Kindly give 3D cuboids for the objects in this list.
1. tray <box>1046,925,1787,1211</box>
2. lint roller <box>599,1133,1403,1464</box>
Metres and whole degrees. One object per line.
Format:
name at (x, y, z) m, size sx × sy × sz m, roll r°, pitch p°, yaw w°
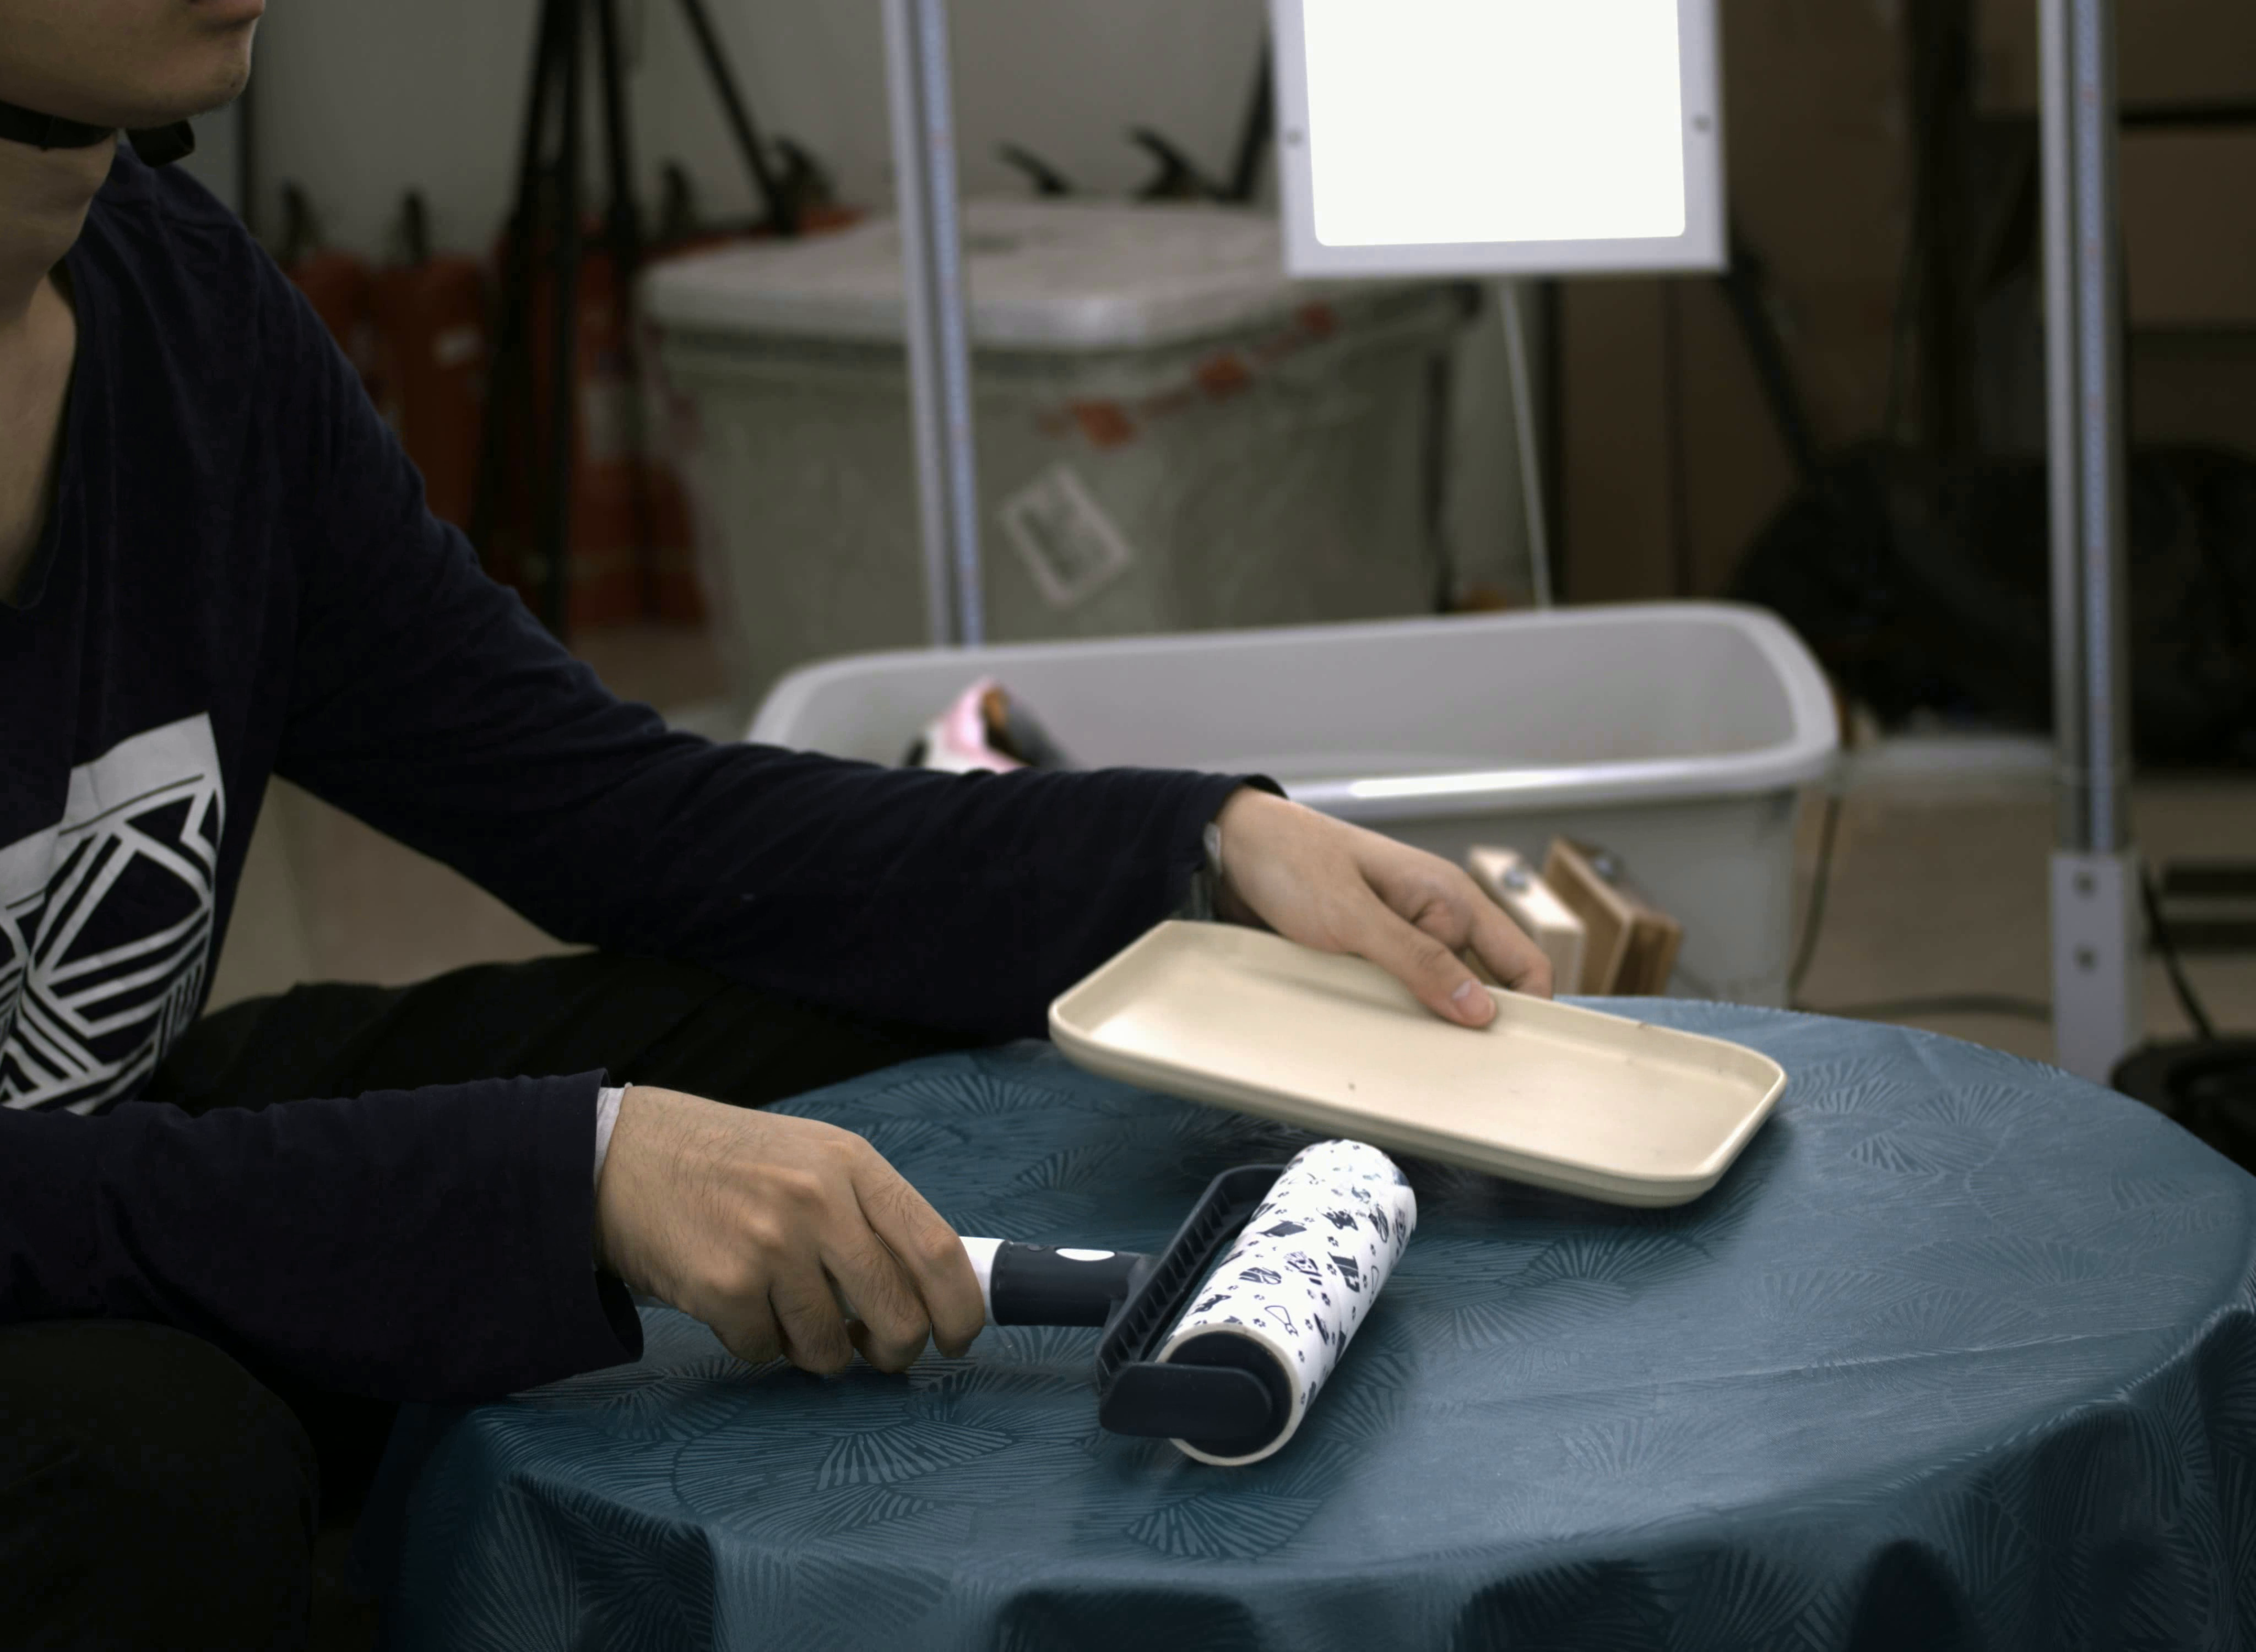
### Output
tray at (0.101, 0.083, 1.907) m, size 0.242 × 0.017 × 0.168 m, roll 12°, pitch 17°, yaw 18°
lint roller at (-0.049, 0.142, 1.726) m, size 0.249 × 0.050 × 0.174 m, roll 1°, pitch 18°, yaw 16°
